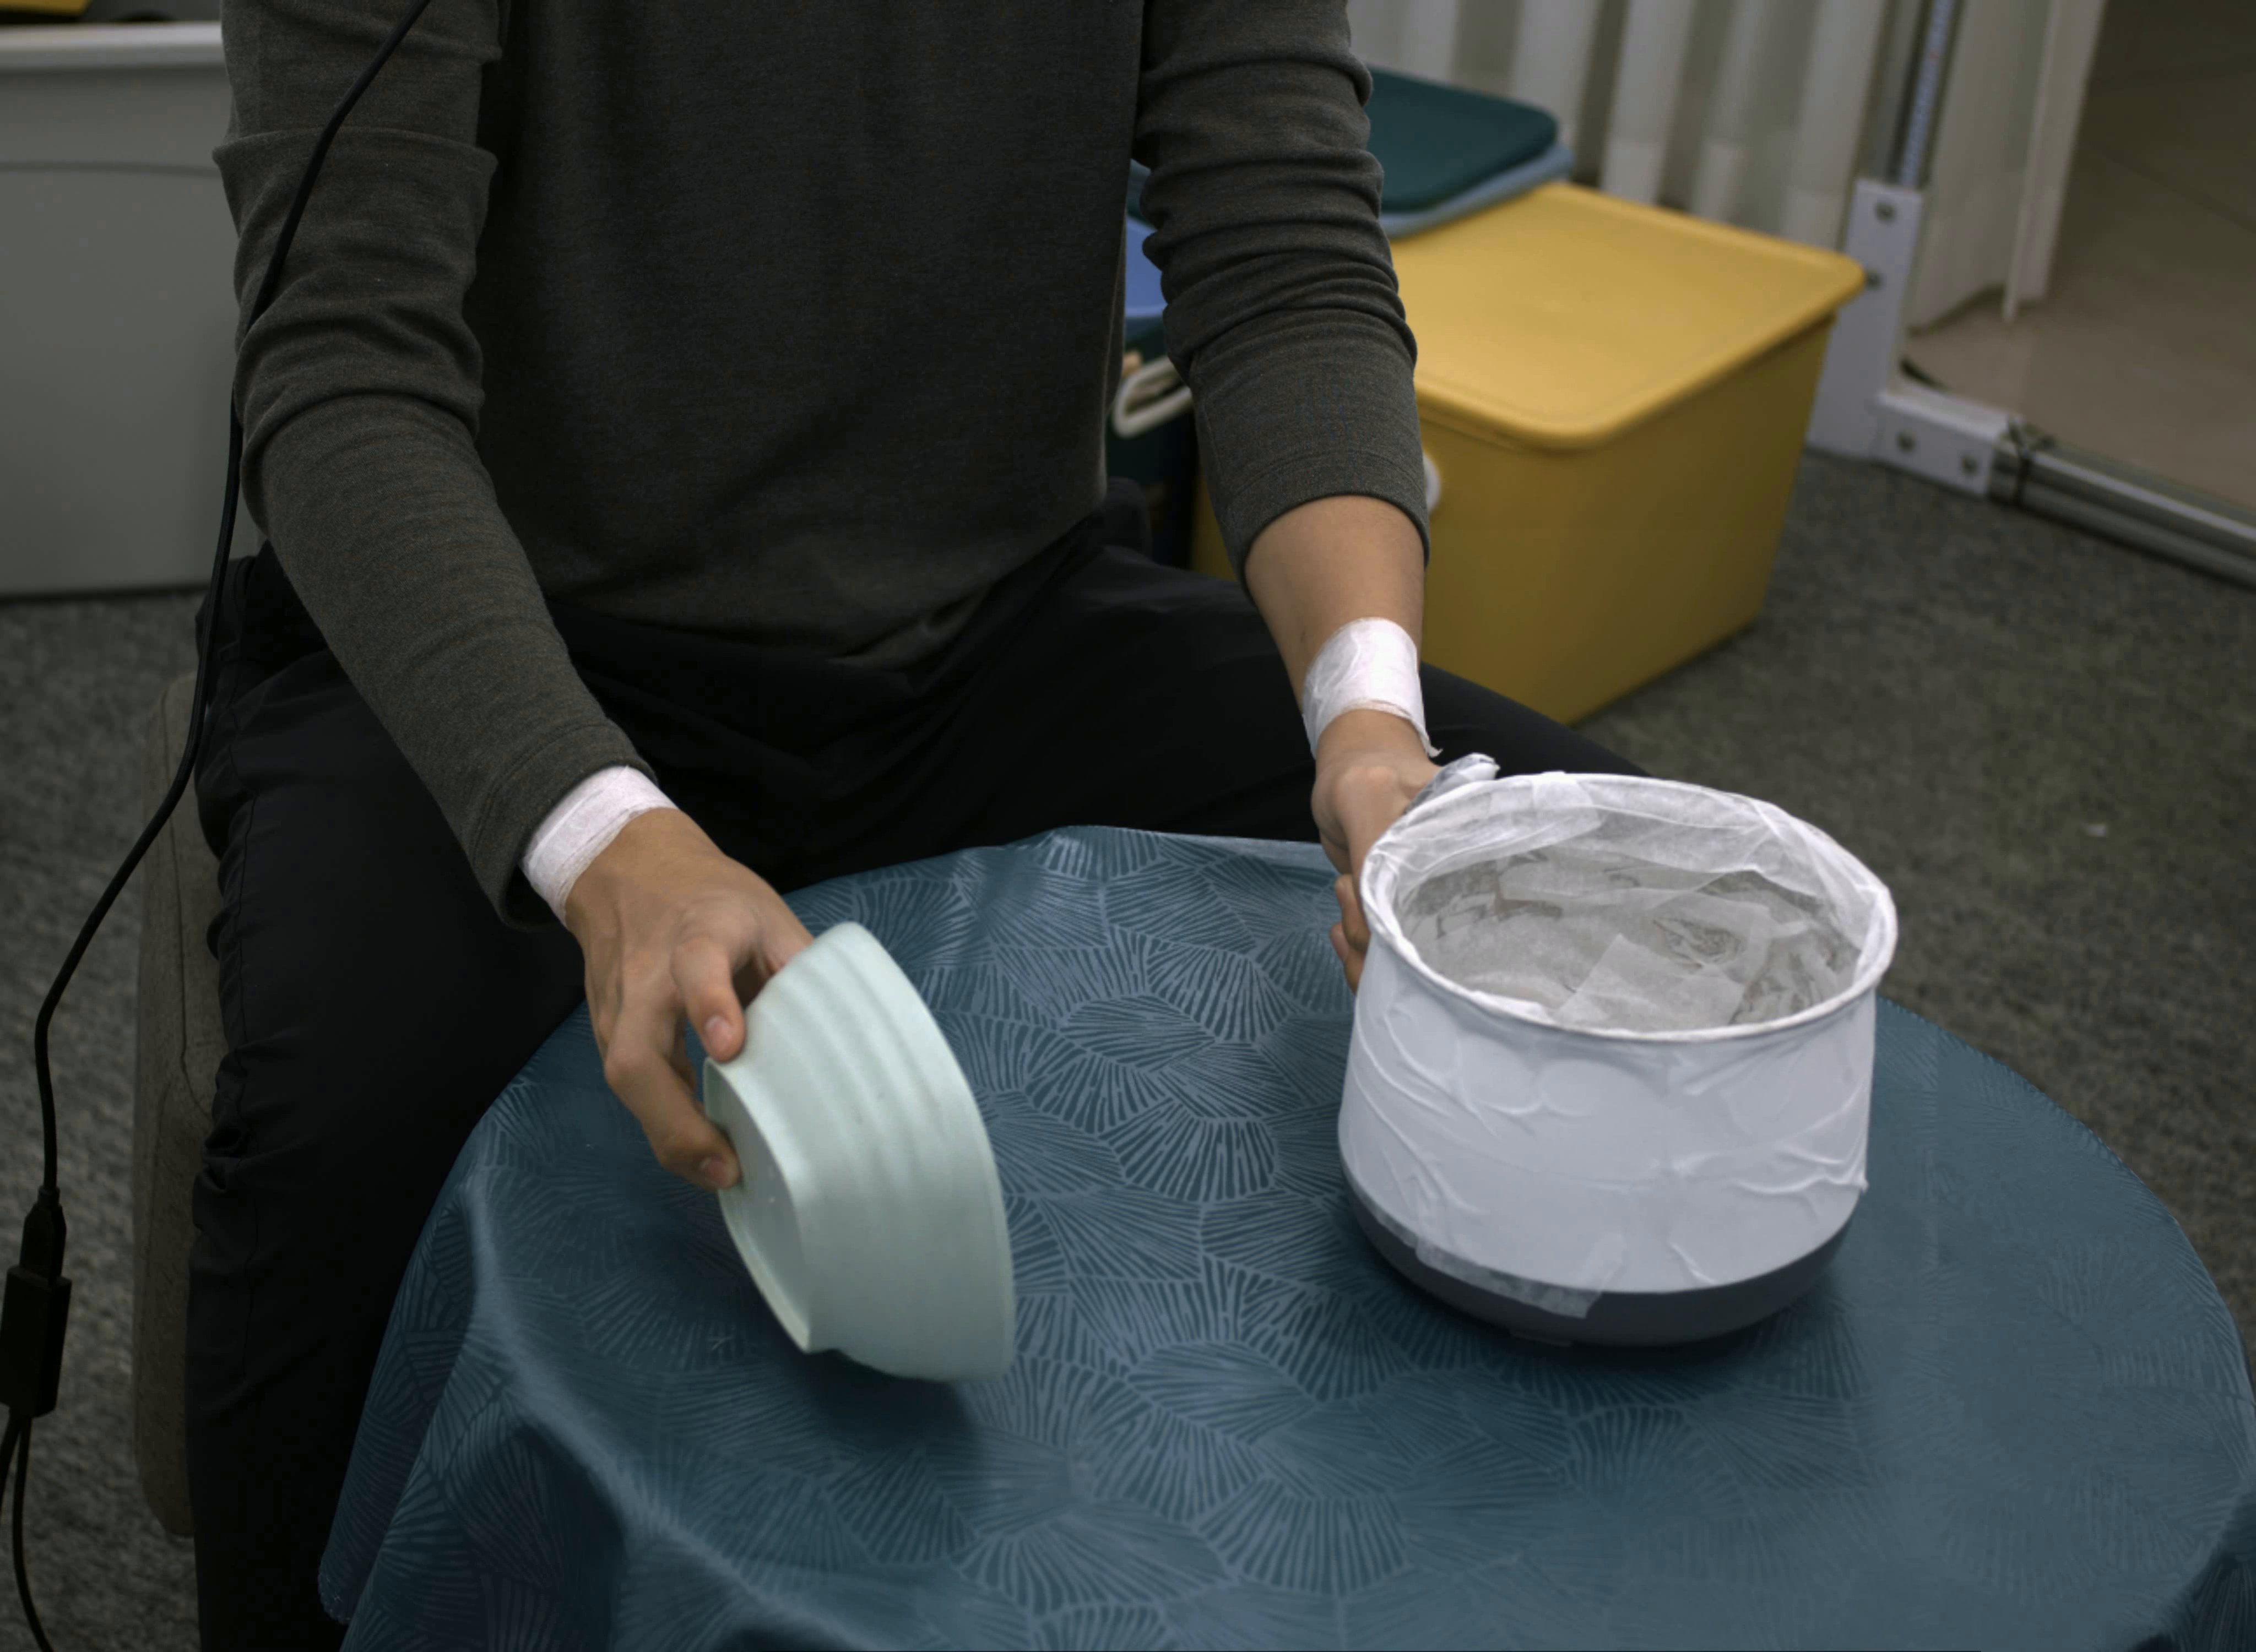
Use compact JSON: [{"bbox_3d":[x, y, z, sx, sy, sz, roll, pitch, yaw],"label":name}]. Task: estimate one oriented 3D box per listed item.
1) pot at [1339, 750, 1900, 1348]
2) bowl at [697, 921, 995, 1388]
[{"bbox_3d":[0.148,0.067,1.794,0.177,0.136,0.236,-11,31,-25],"label":"pot"},{"bbox_3d":[-0.093,0.109,1.655,0.058,0.151,0.153,-16,32,-16],"label":"bowl"}]
